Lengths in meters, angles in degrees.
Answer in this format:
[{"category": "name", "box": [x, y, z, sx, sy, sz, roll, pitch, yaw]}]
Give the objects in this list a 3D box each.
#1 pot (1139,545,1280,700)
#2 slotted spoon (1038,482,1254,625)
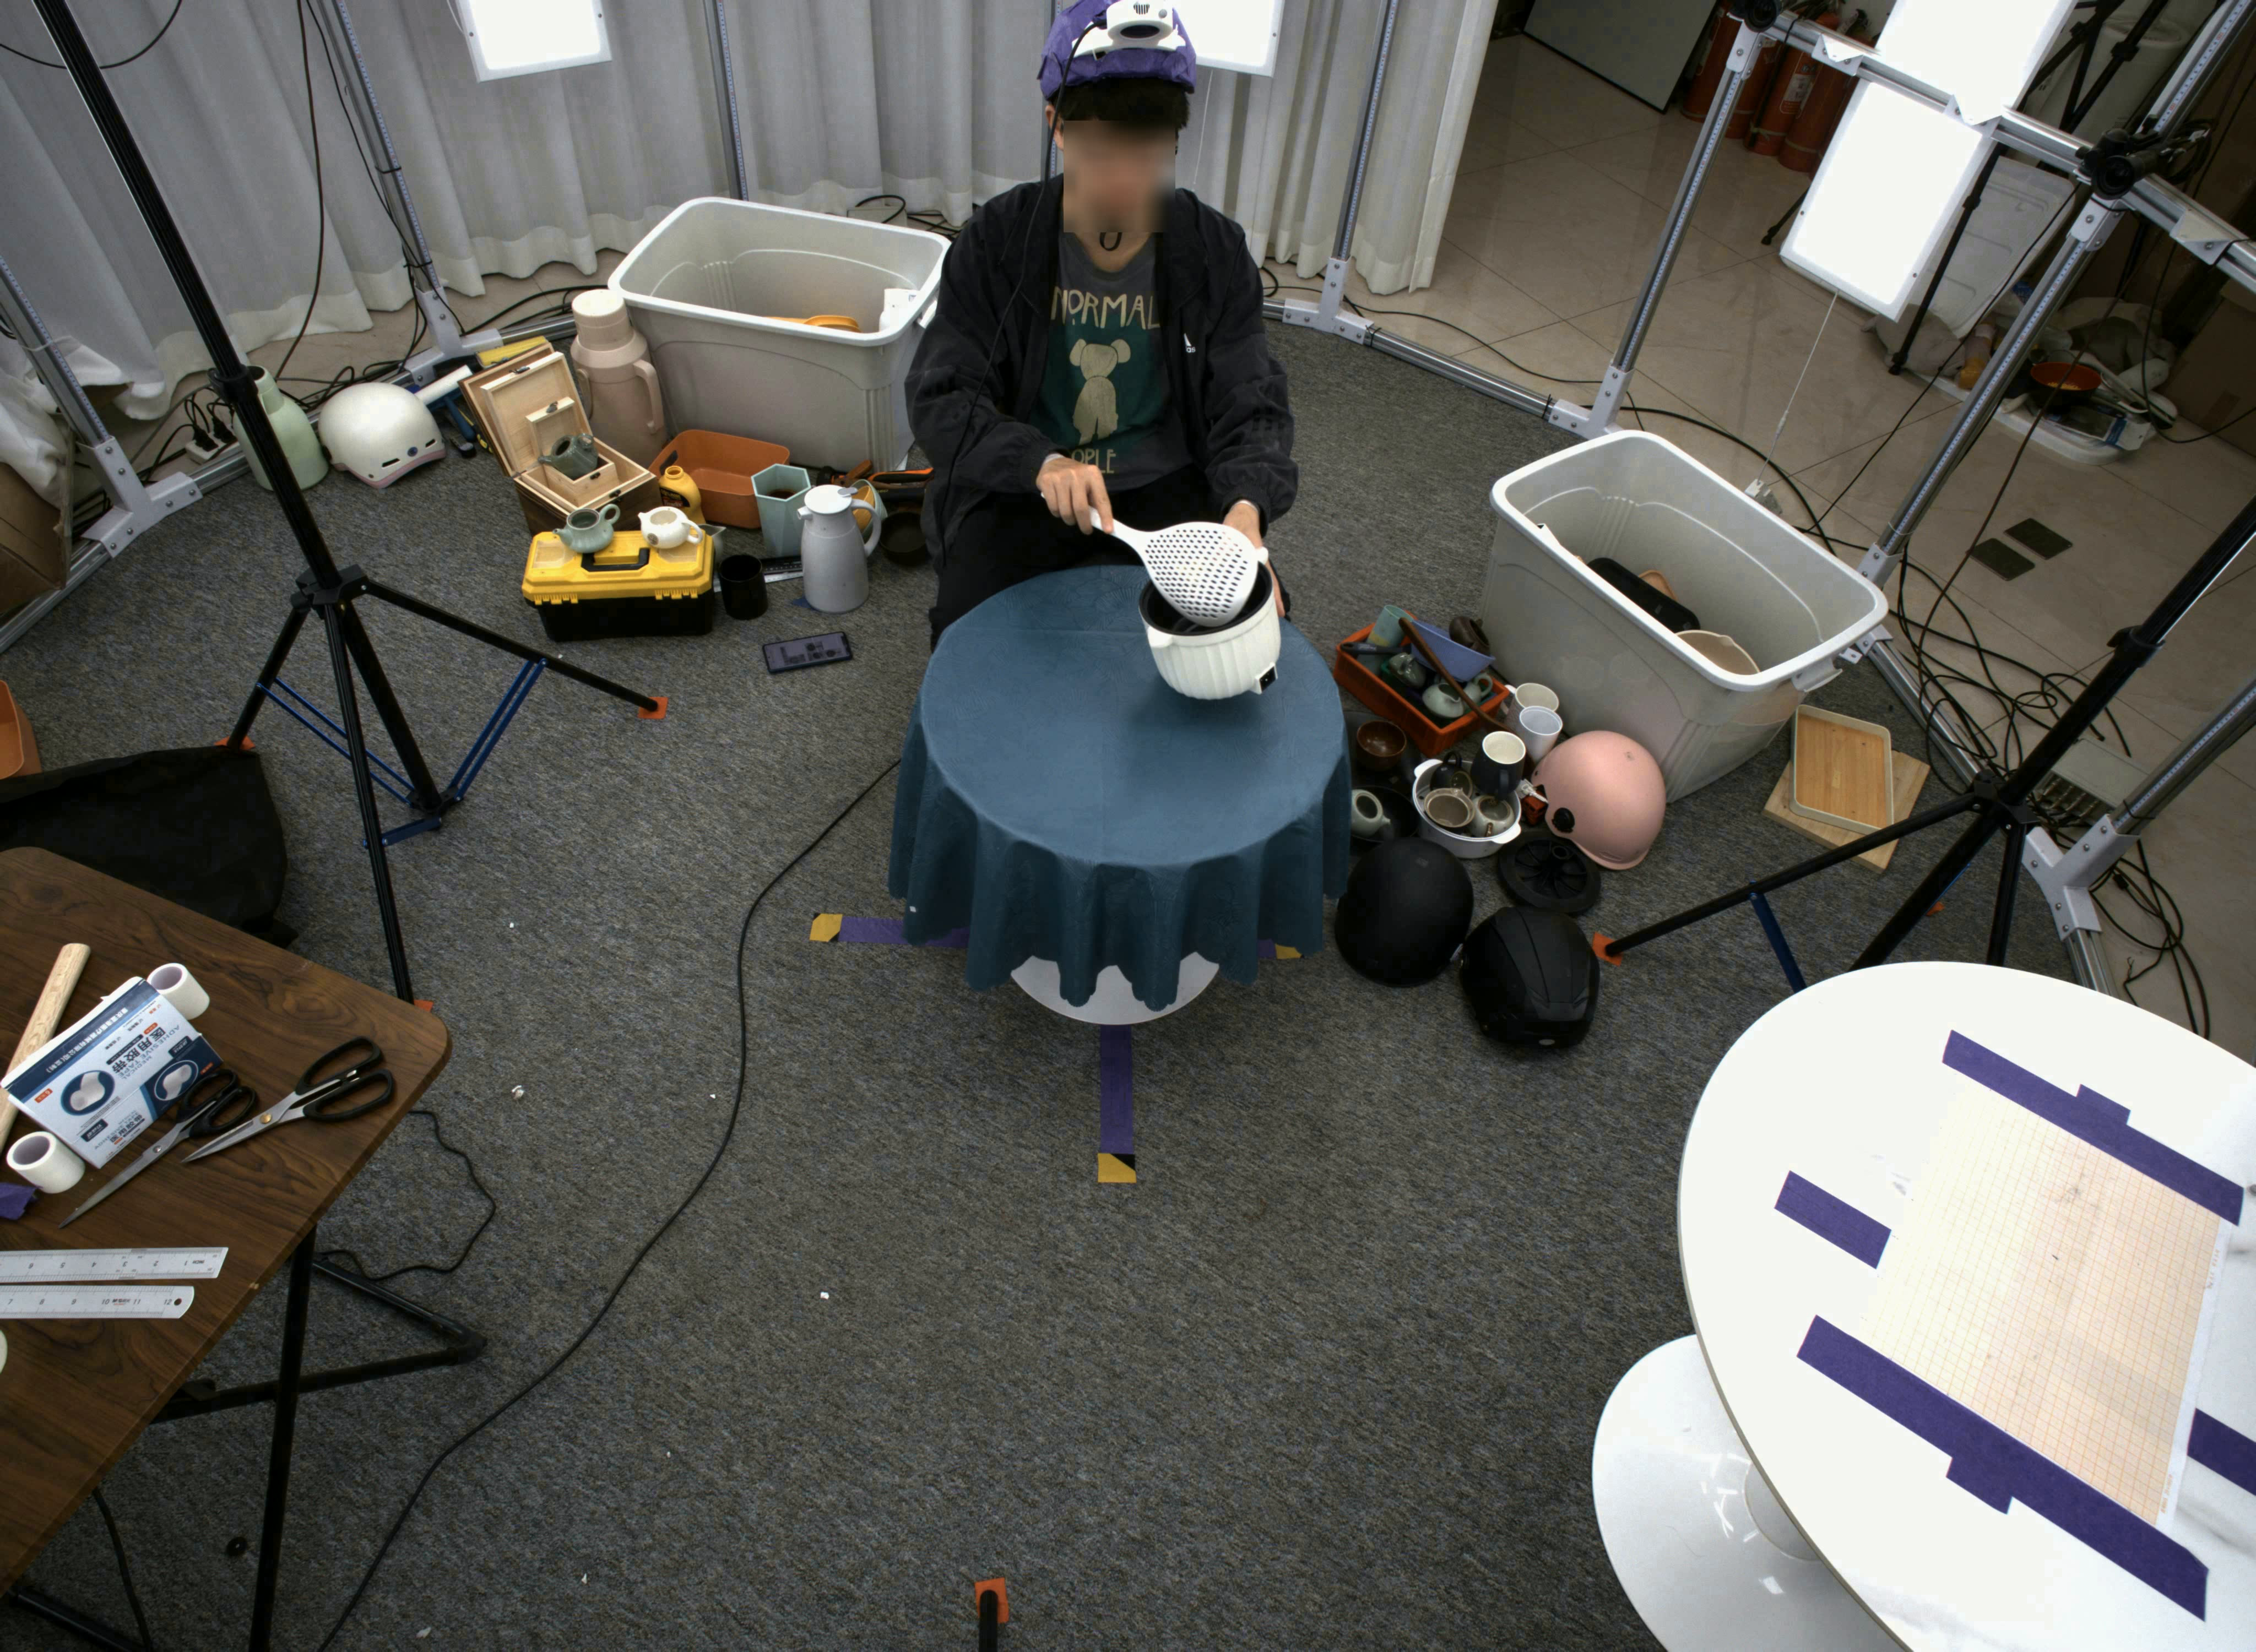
[{"category": "pot", "box": [0.112, -0.269, 1.761, 0.193, 0.139, 0.243, 29, 58, 35]}, {"category": "slotted spoon", "box": [0.015, -0.391, 1.761, 0.353, 0.135, 0.050, 32, 20, 28]}]
